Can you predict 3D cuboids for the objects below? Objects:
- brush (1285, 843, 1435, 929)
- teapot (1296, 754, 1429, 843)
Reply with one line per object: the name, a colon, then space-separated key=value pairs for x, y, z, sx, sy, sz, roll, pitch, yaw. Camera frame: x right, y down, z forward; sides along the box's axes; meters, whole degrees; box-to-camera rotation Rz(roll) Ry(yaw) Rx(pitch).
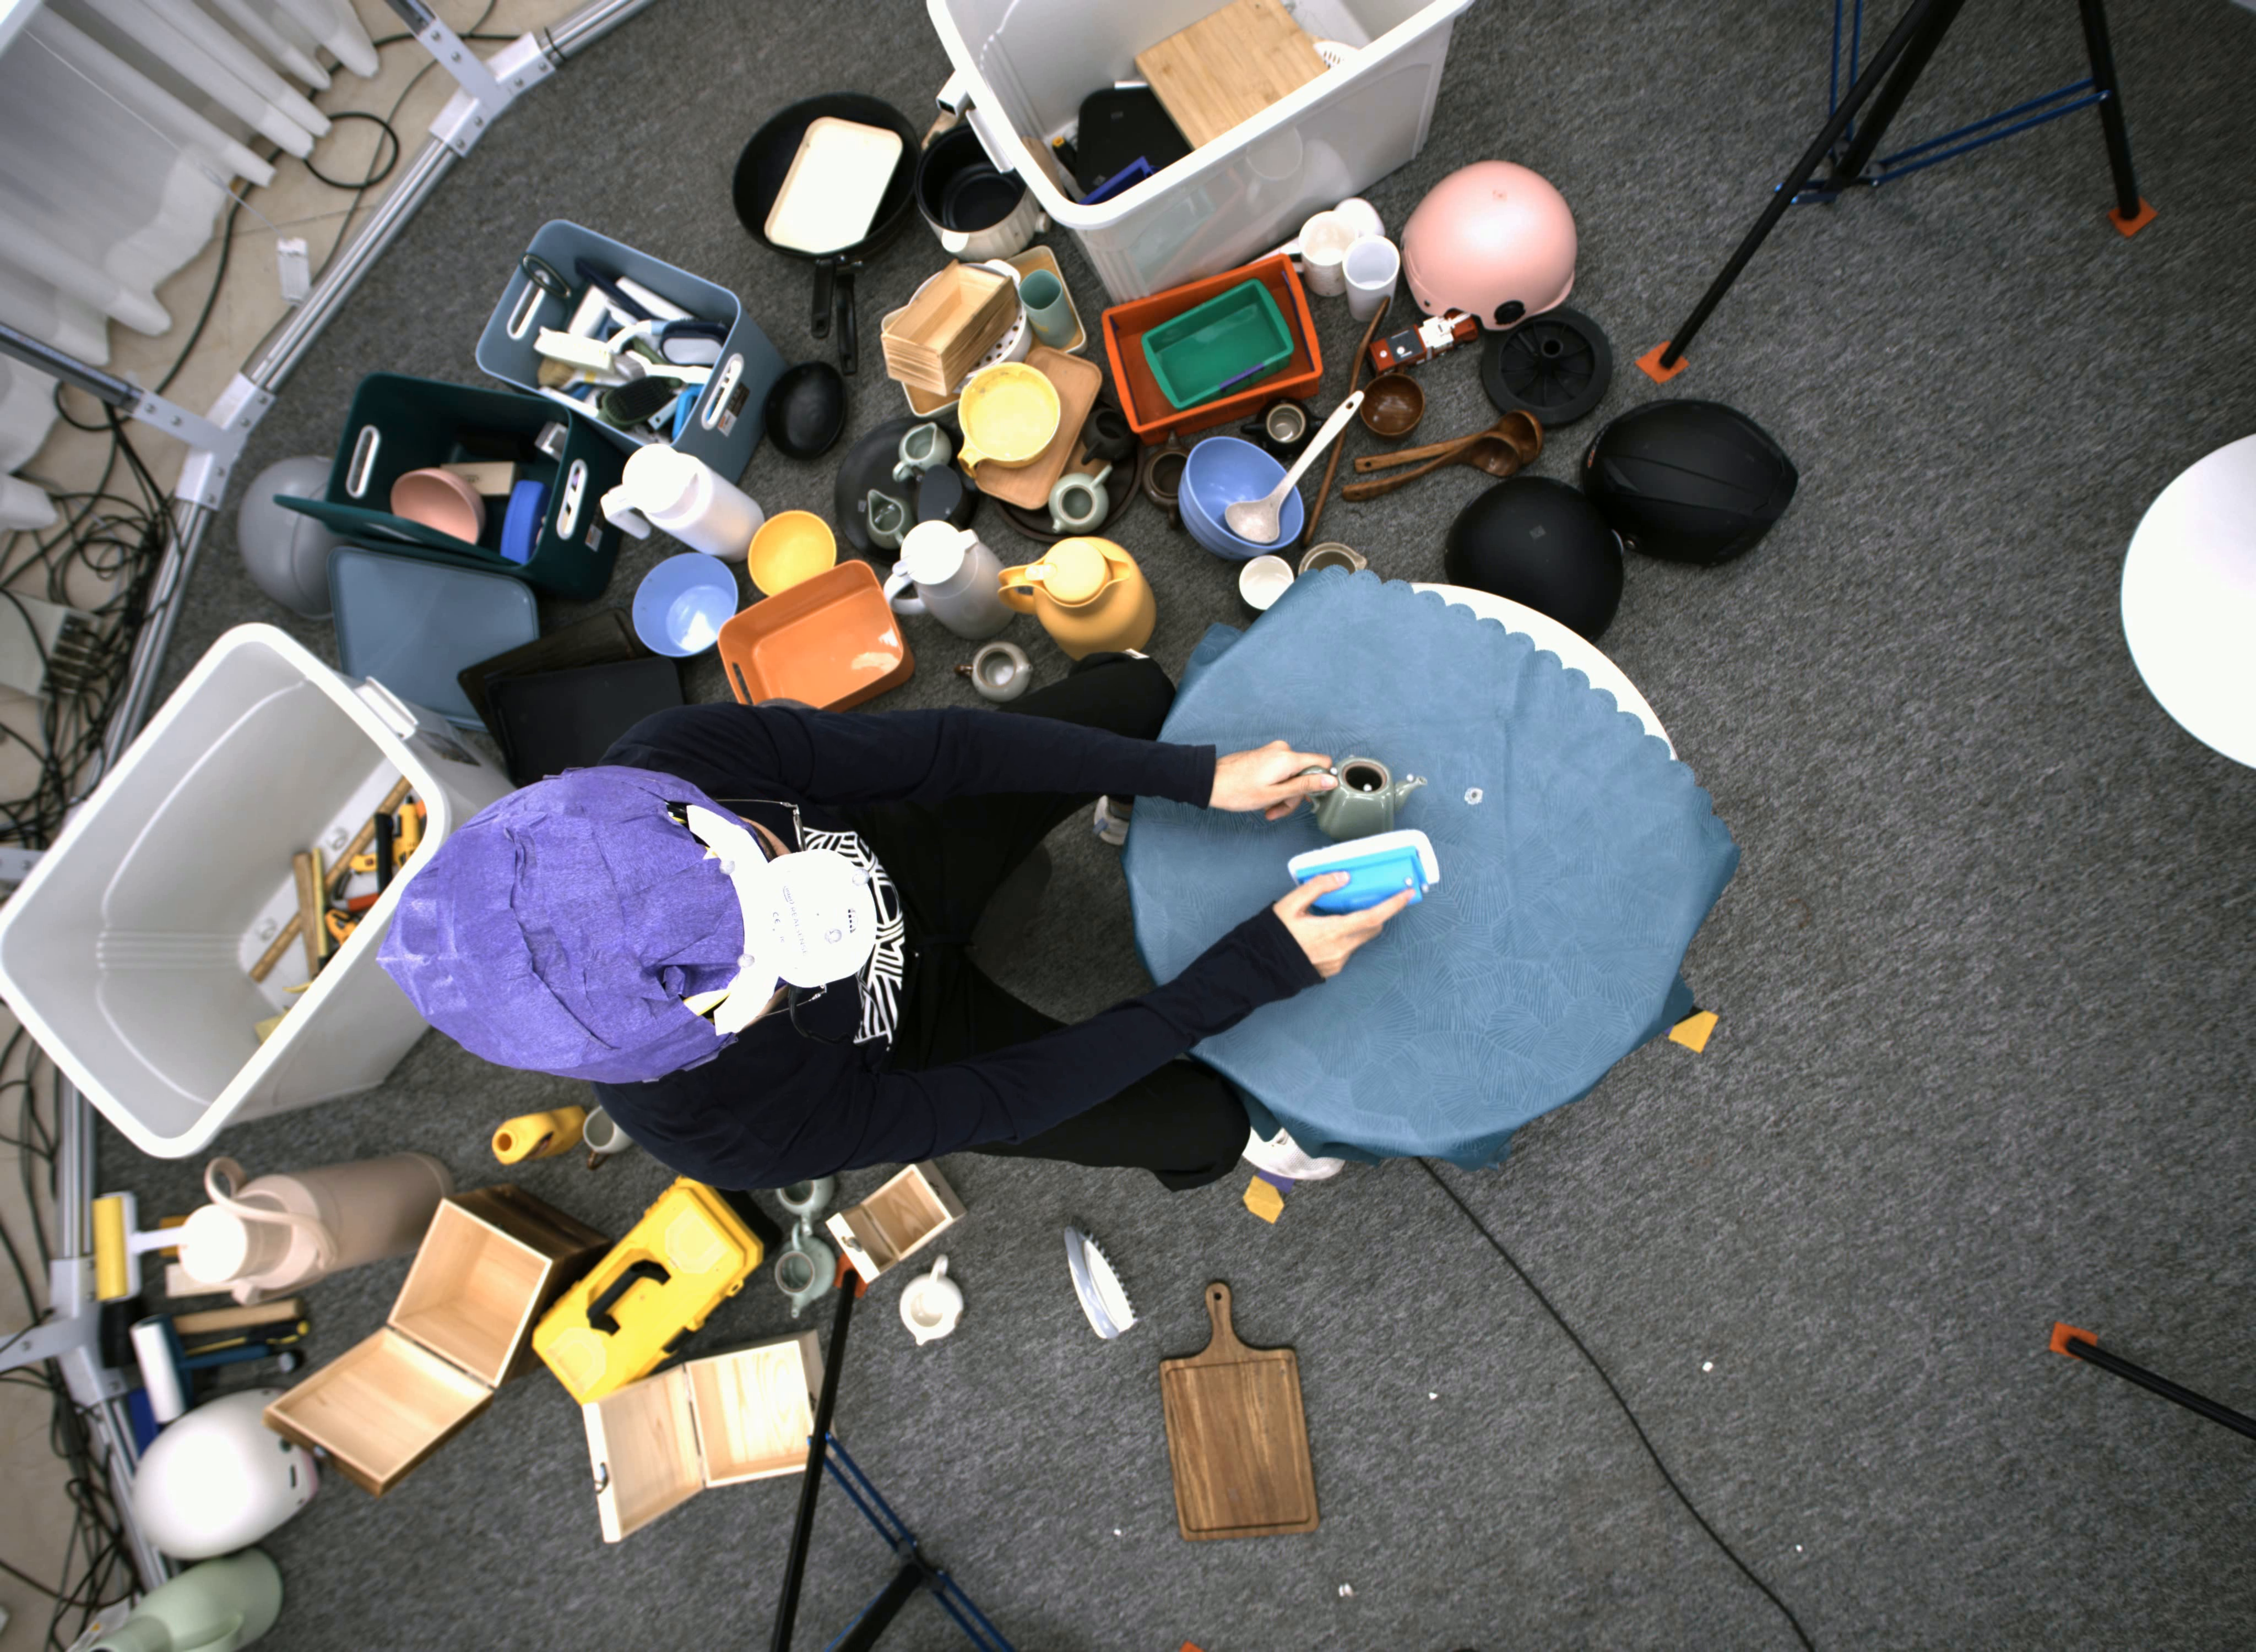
brush: x=0.229 y=0.066 z=1.360 sx=0.145 sy=0.085 sz=0.054 roll=-13 pitch=42 yaw=15
teapot: x=0.236 y=-0.032 z=1.409 sx=0.132 sy=0.077 sz=0.077 roll=3 pitch=49 yaw=1
